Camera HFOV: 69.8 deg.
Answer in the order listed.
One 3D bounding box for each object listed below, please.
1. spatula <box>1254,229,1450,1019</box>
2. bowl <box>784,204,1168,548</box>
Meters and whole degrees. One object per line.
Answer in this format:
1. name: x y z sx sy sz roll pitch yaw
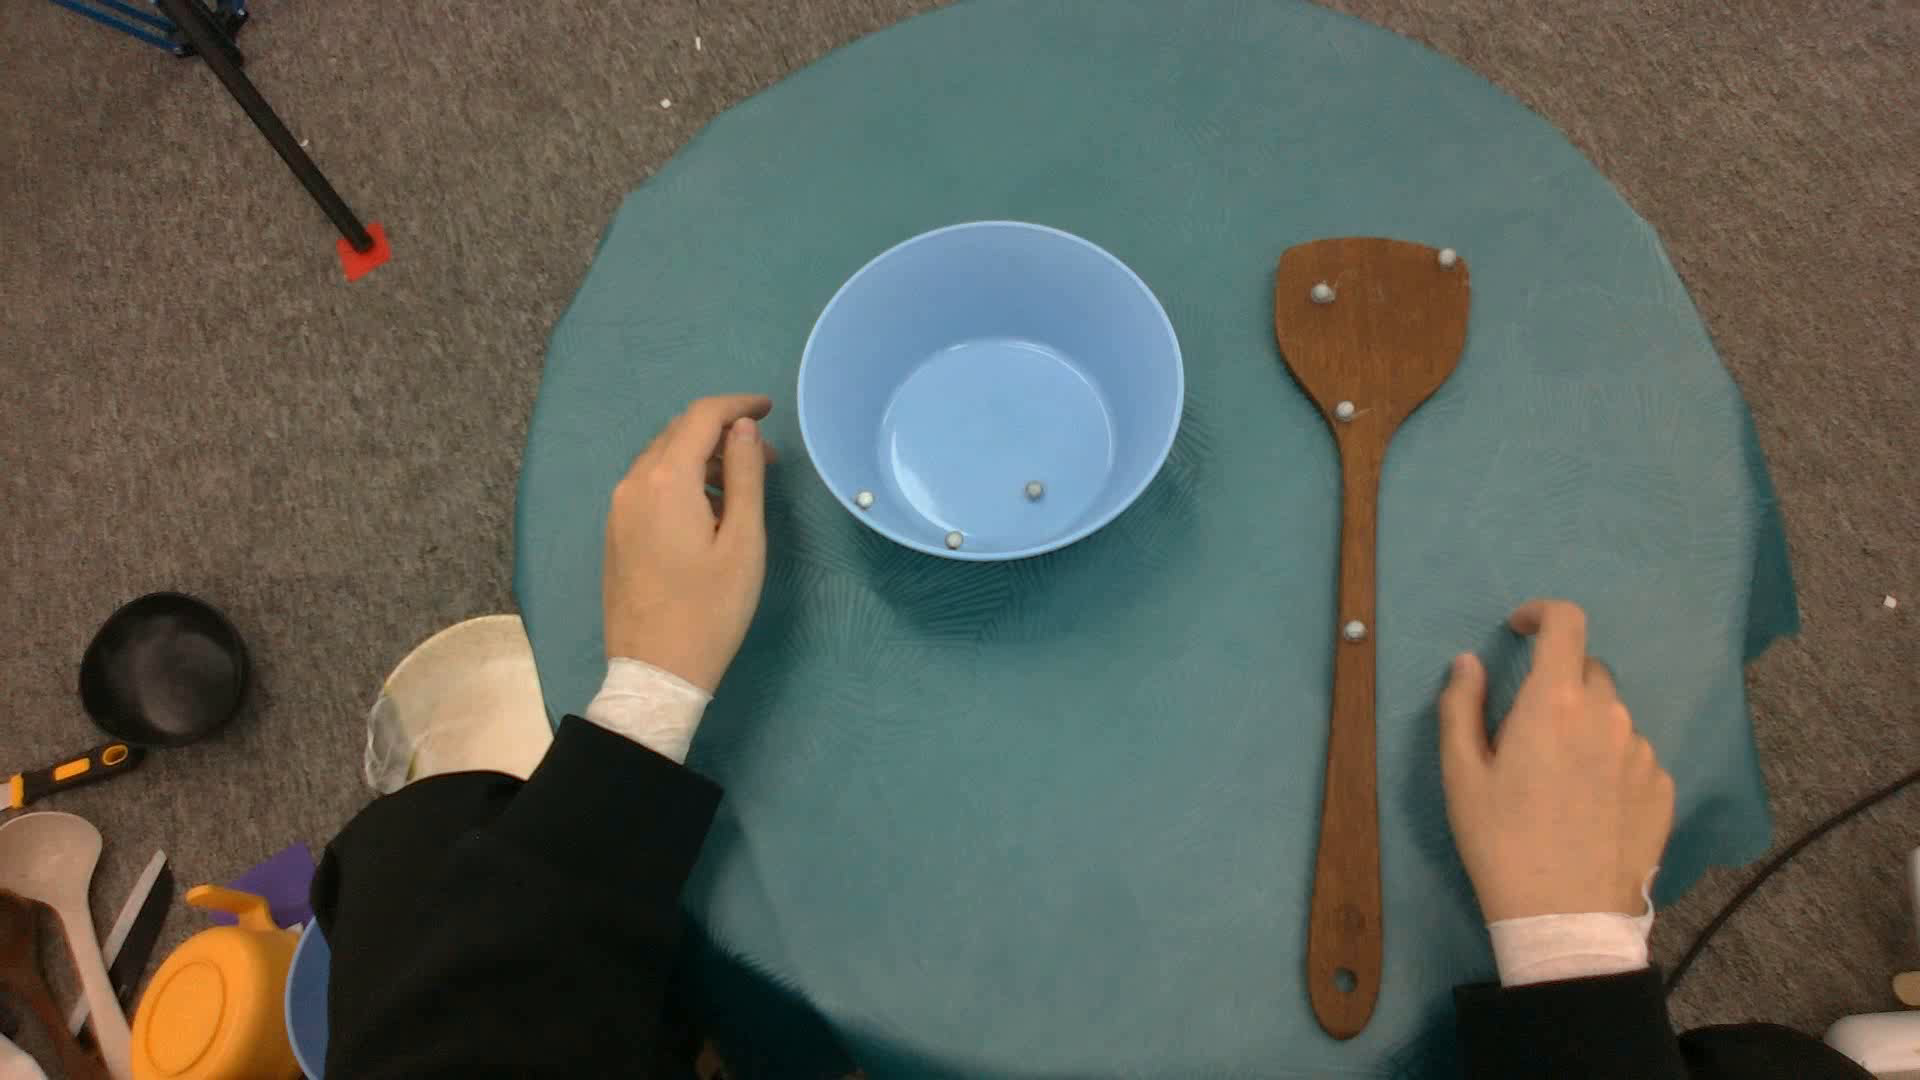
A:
1. spatula: 0.176 0.018 0.636 0.096 0.016 0.387 6 67 7
2. bowl: 0.009 -0.068 0.655 0.176 0.070 0.176 -2 68 4
